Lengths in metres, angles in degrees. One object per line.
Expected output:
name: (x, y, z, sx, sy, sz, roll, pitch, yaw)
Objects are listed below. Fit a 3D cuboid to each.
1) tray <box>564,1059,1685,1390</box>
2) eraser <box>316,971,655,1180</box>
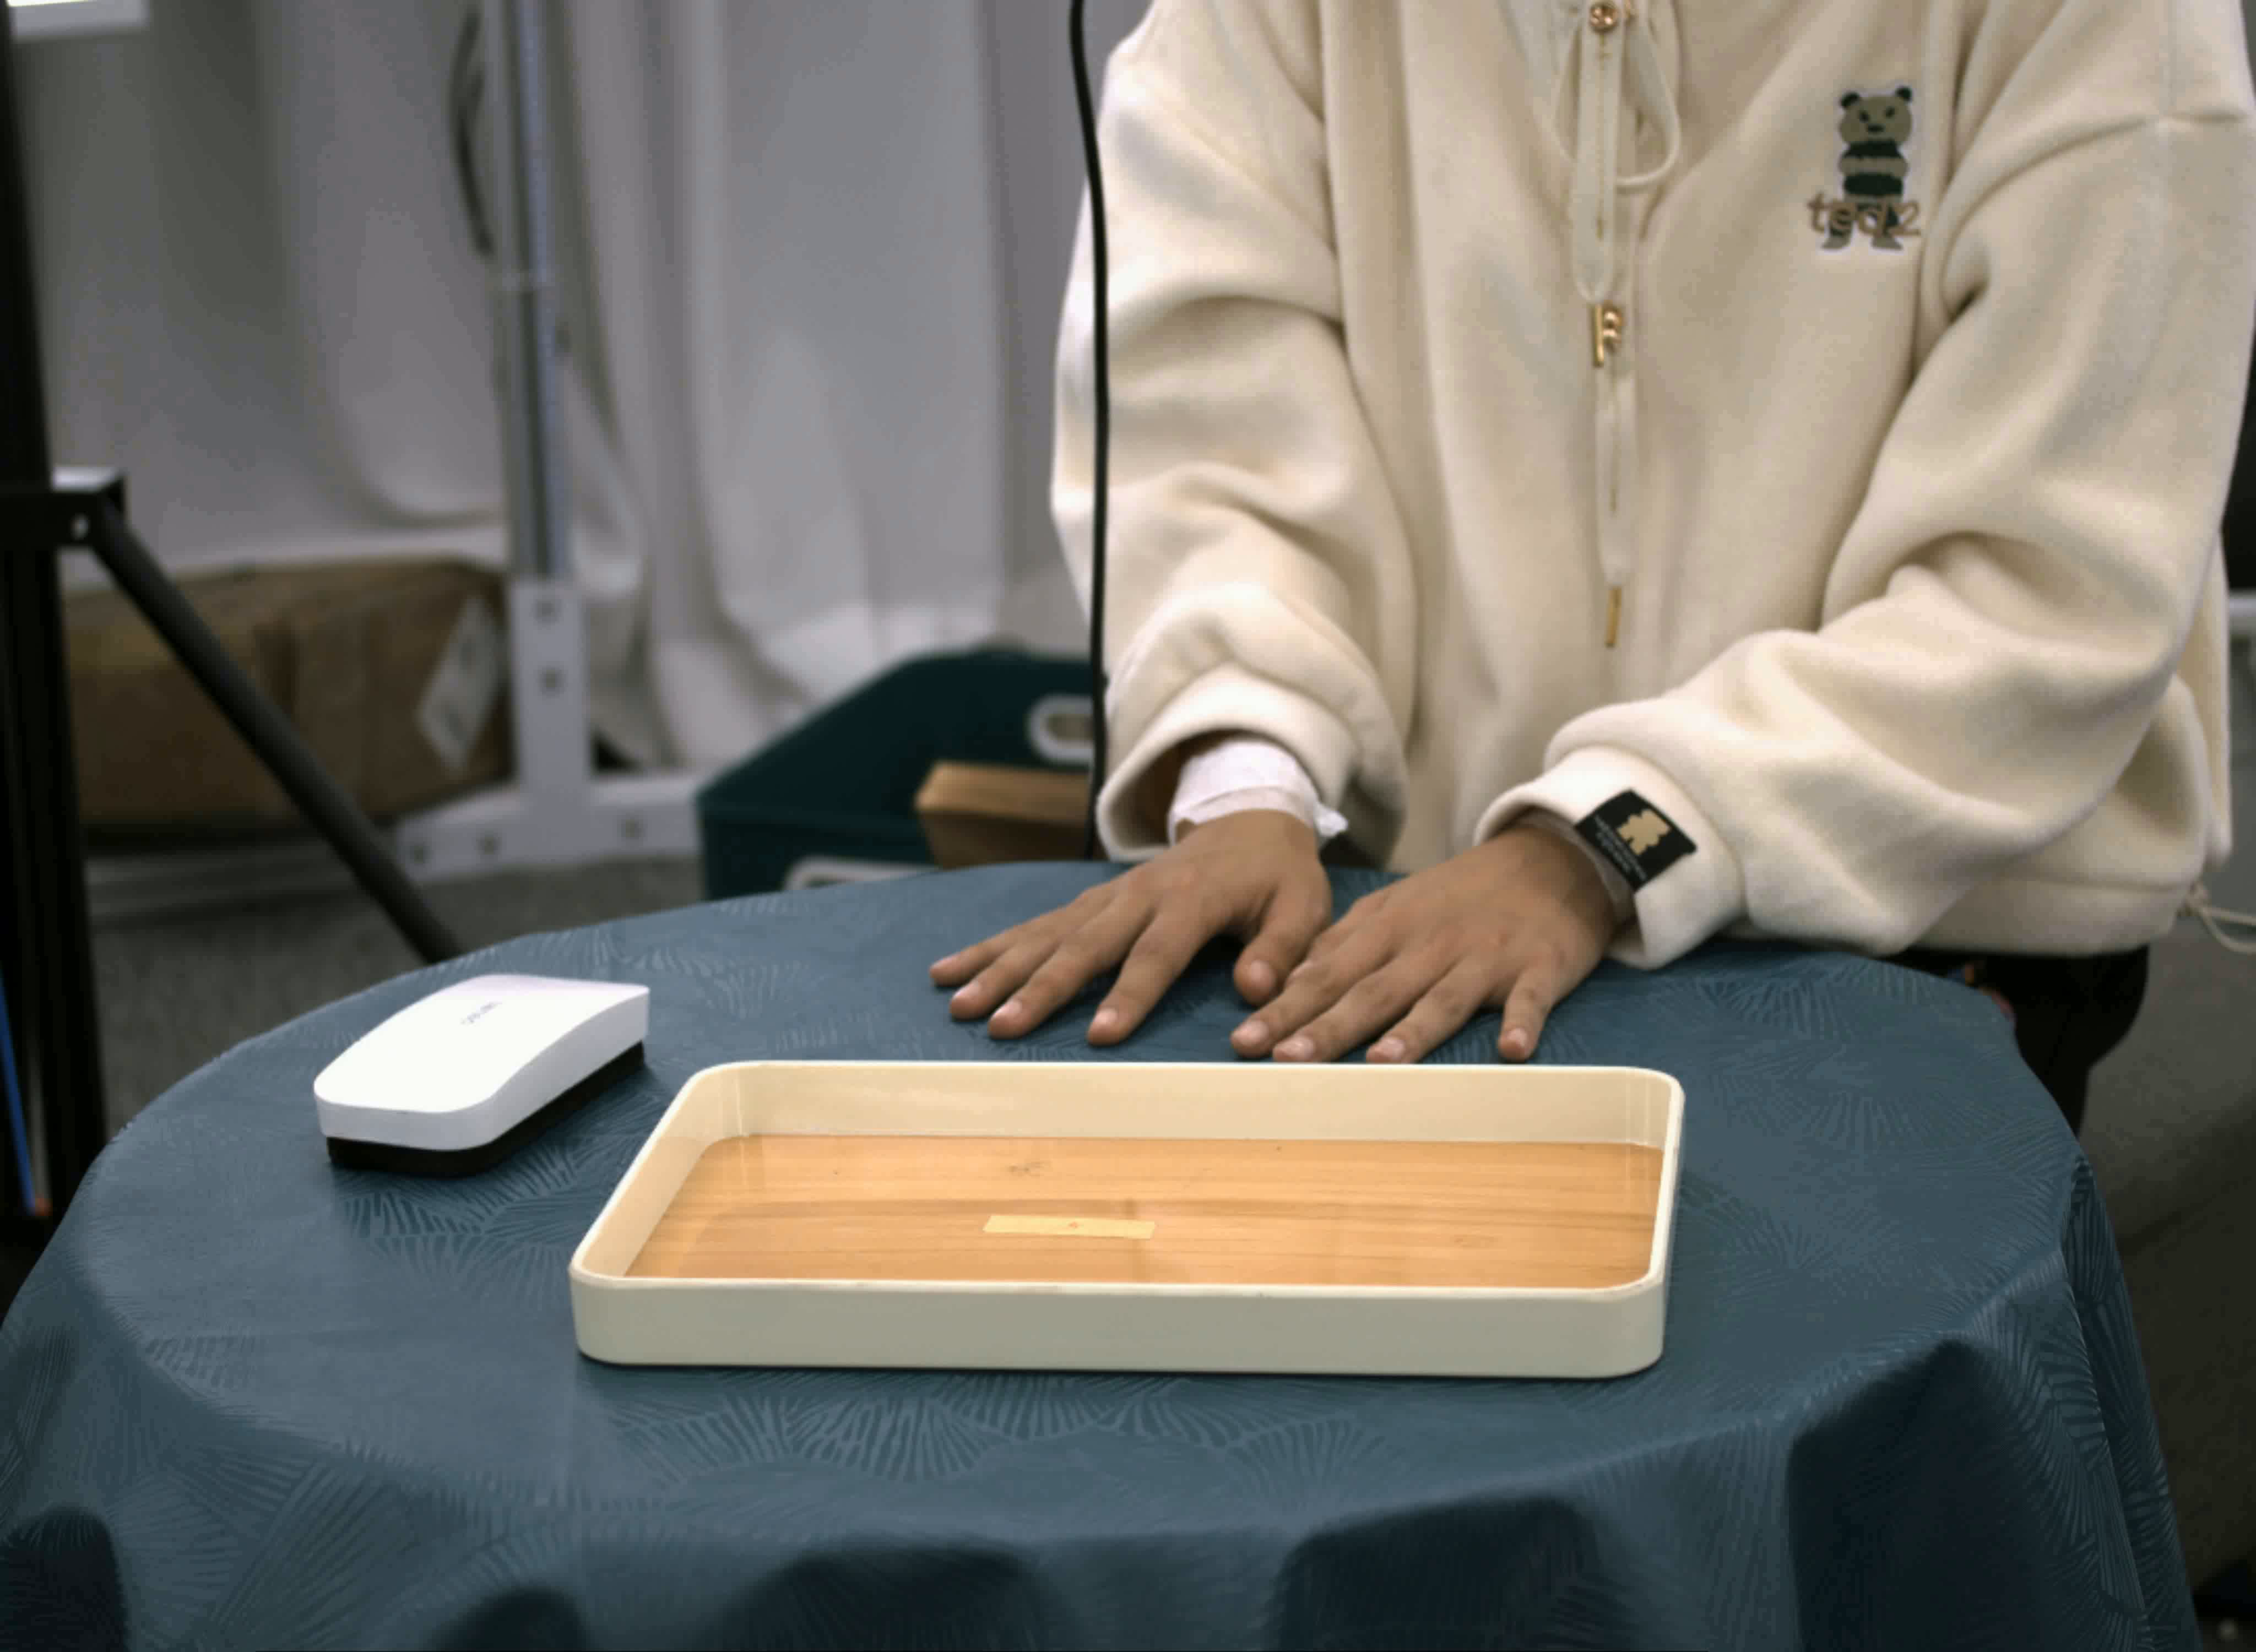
tray: (0.005, 0.110, 1.500, 0.301, 0.027, 0.191, 0, 16, 10)
eraser: (-0.196, 0.073, 1.656, 0.064, 0.034, 0.129, 3, 17, 24)
